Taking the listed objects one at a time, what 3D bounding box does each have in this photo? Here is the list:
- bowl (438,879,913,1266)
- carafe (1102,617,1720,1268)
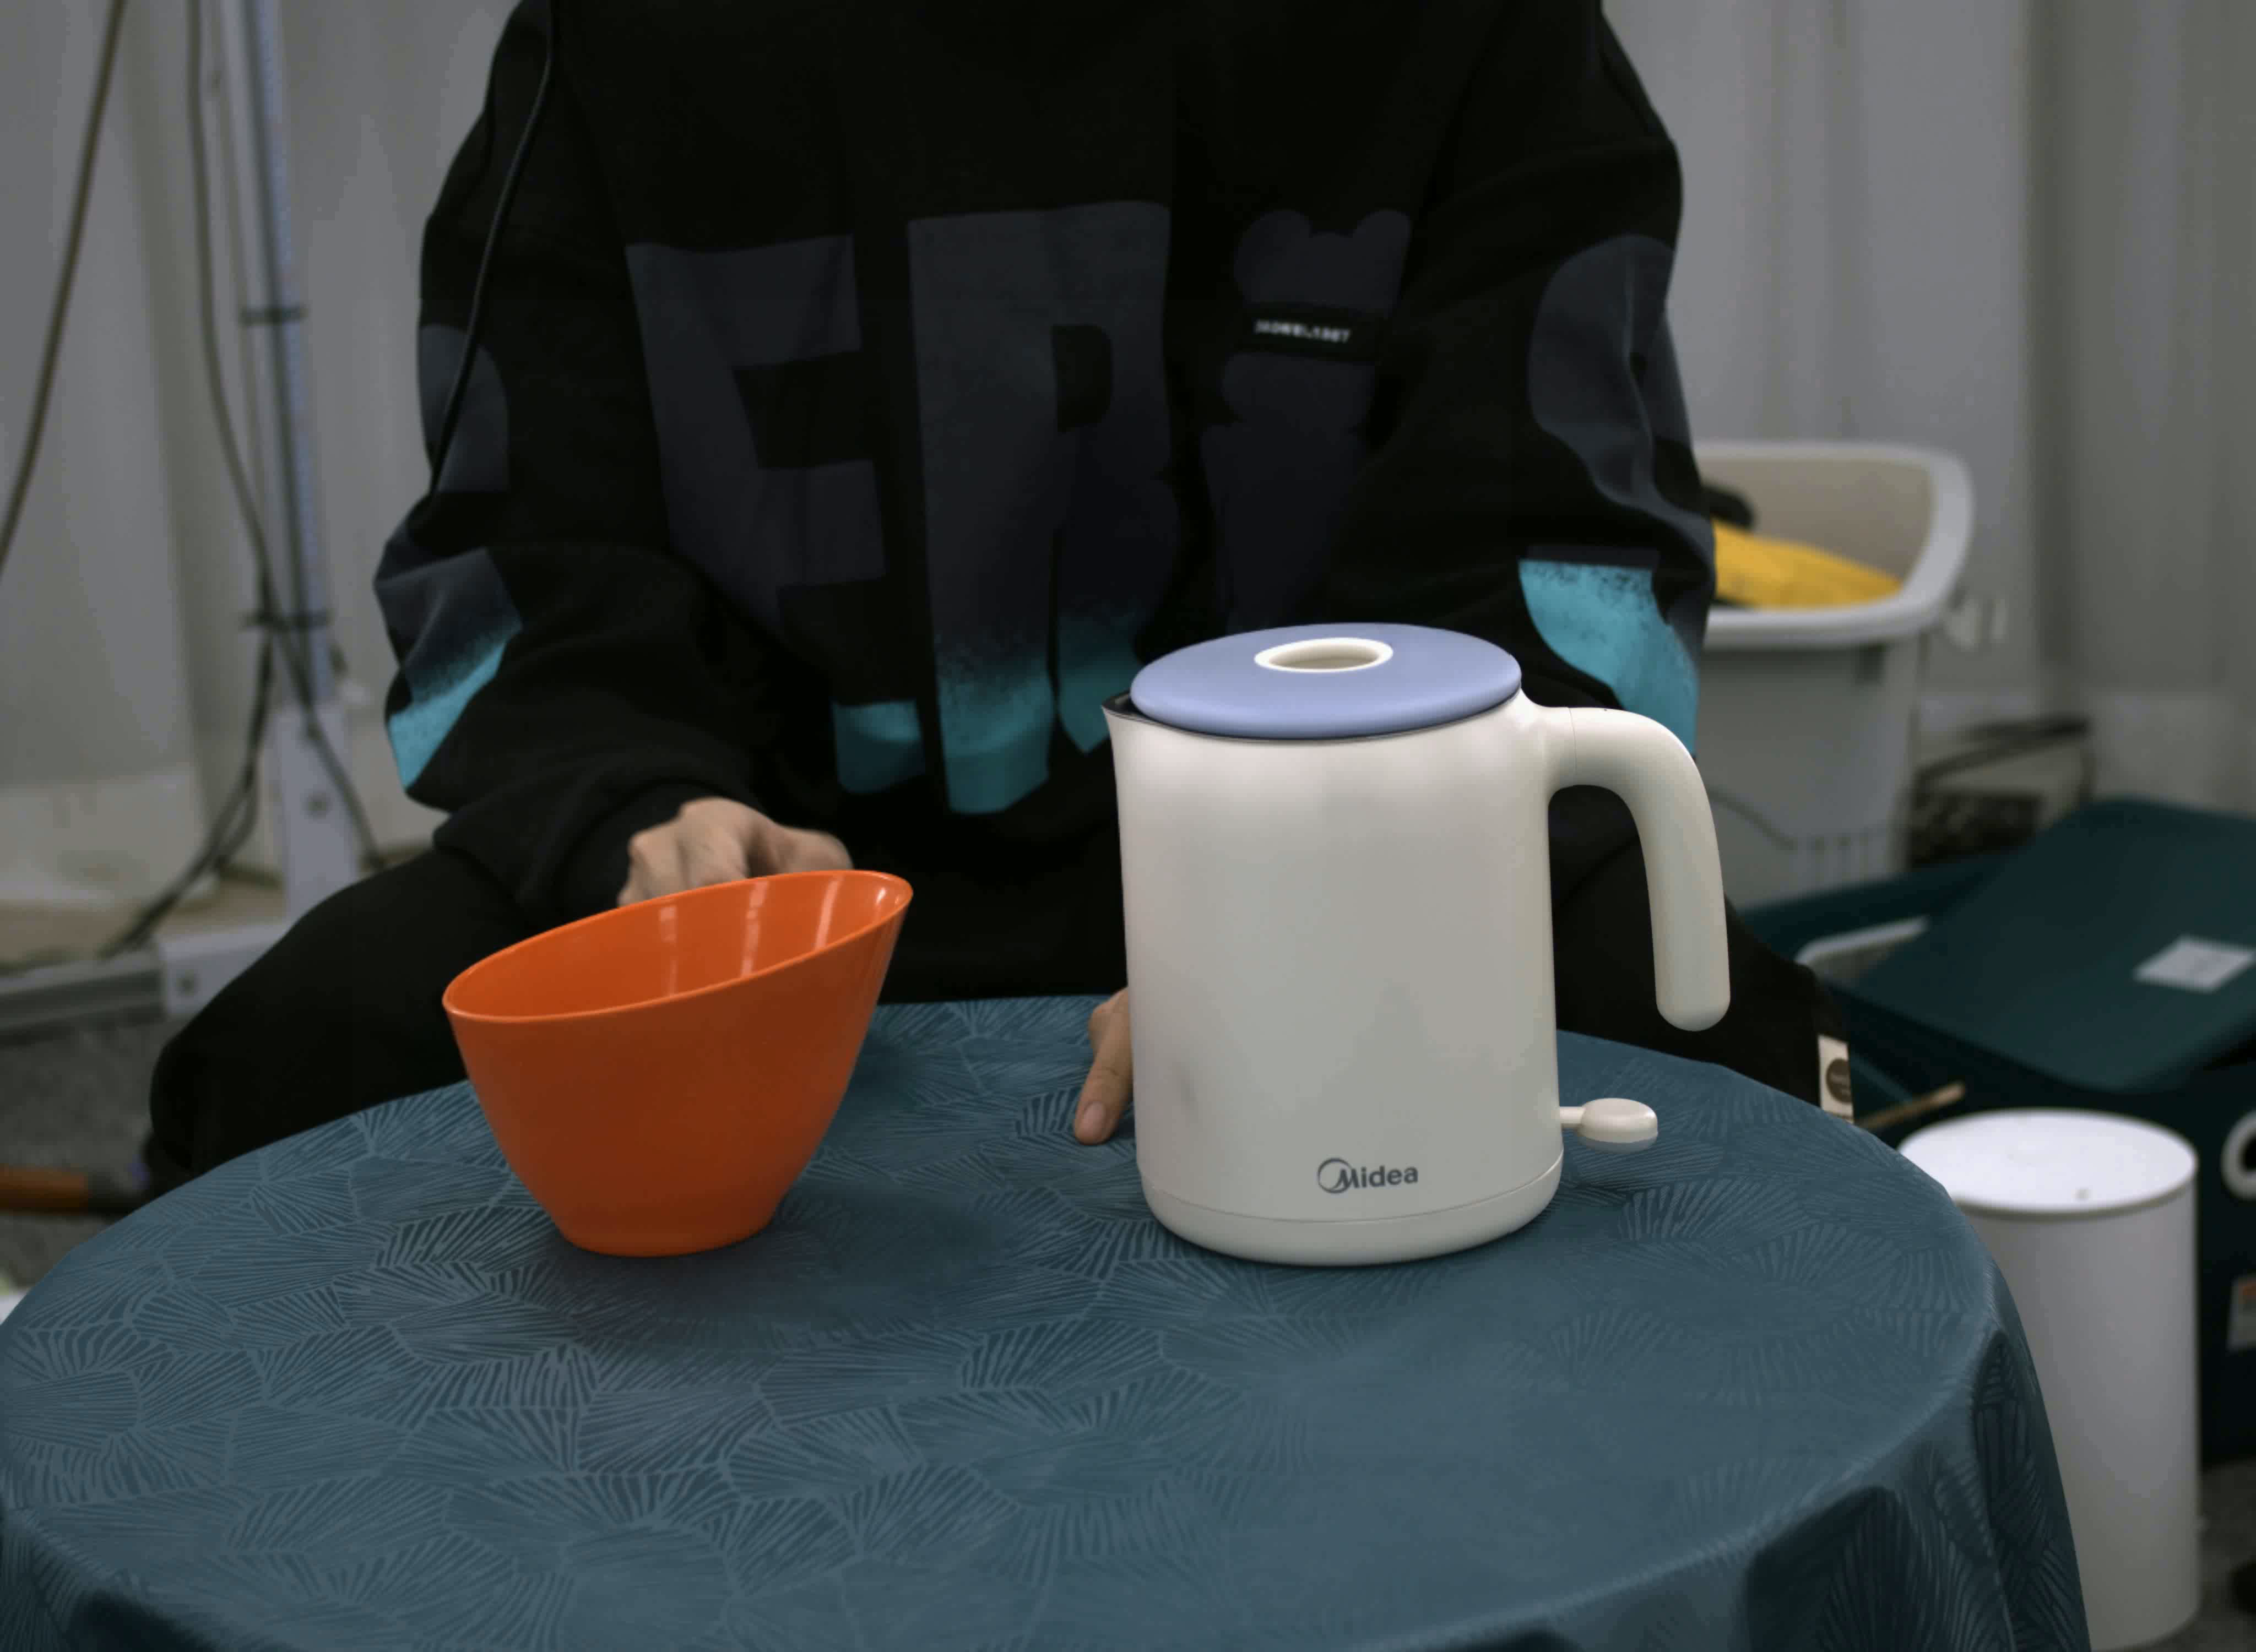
[{"bbox_3d":[-0.137,0.077,1.690,0.147,0.104,0.149,-3,15,0],"label":"bowl"},{"bbox_3d":[0.088,0.034,1.673,0.190,0.182,0.133,-2,15,-4],"label":"carafe"}]
